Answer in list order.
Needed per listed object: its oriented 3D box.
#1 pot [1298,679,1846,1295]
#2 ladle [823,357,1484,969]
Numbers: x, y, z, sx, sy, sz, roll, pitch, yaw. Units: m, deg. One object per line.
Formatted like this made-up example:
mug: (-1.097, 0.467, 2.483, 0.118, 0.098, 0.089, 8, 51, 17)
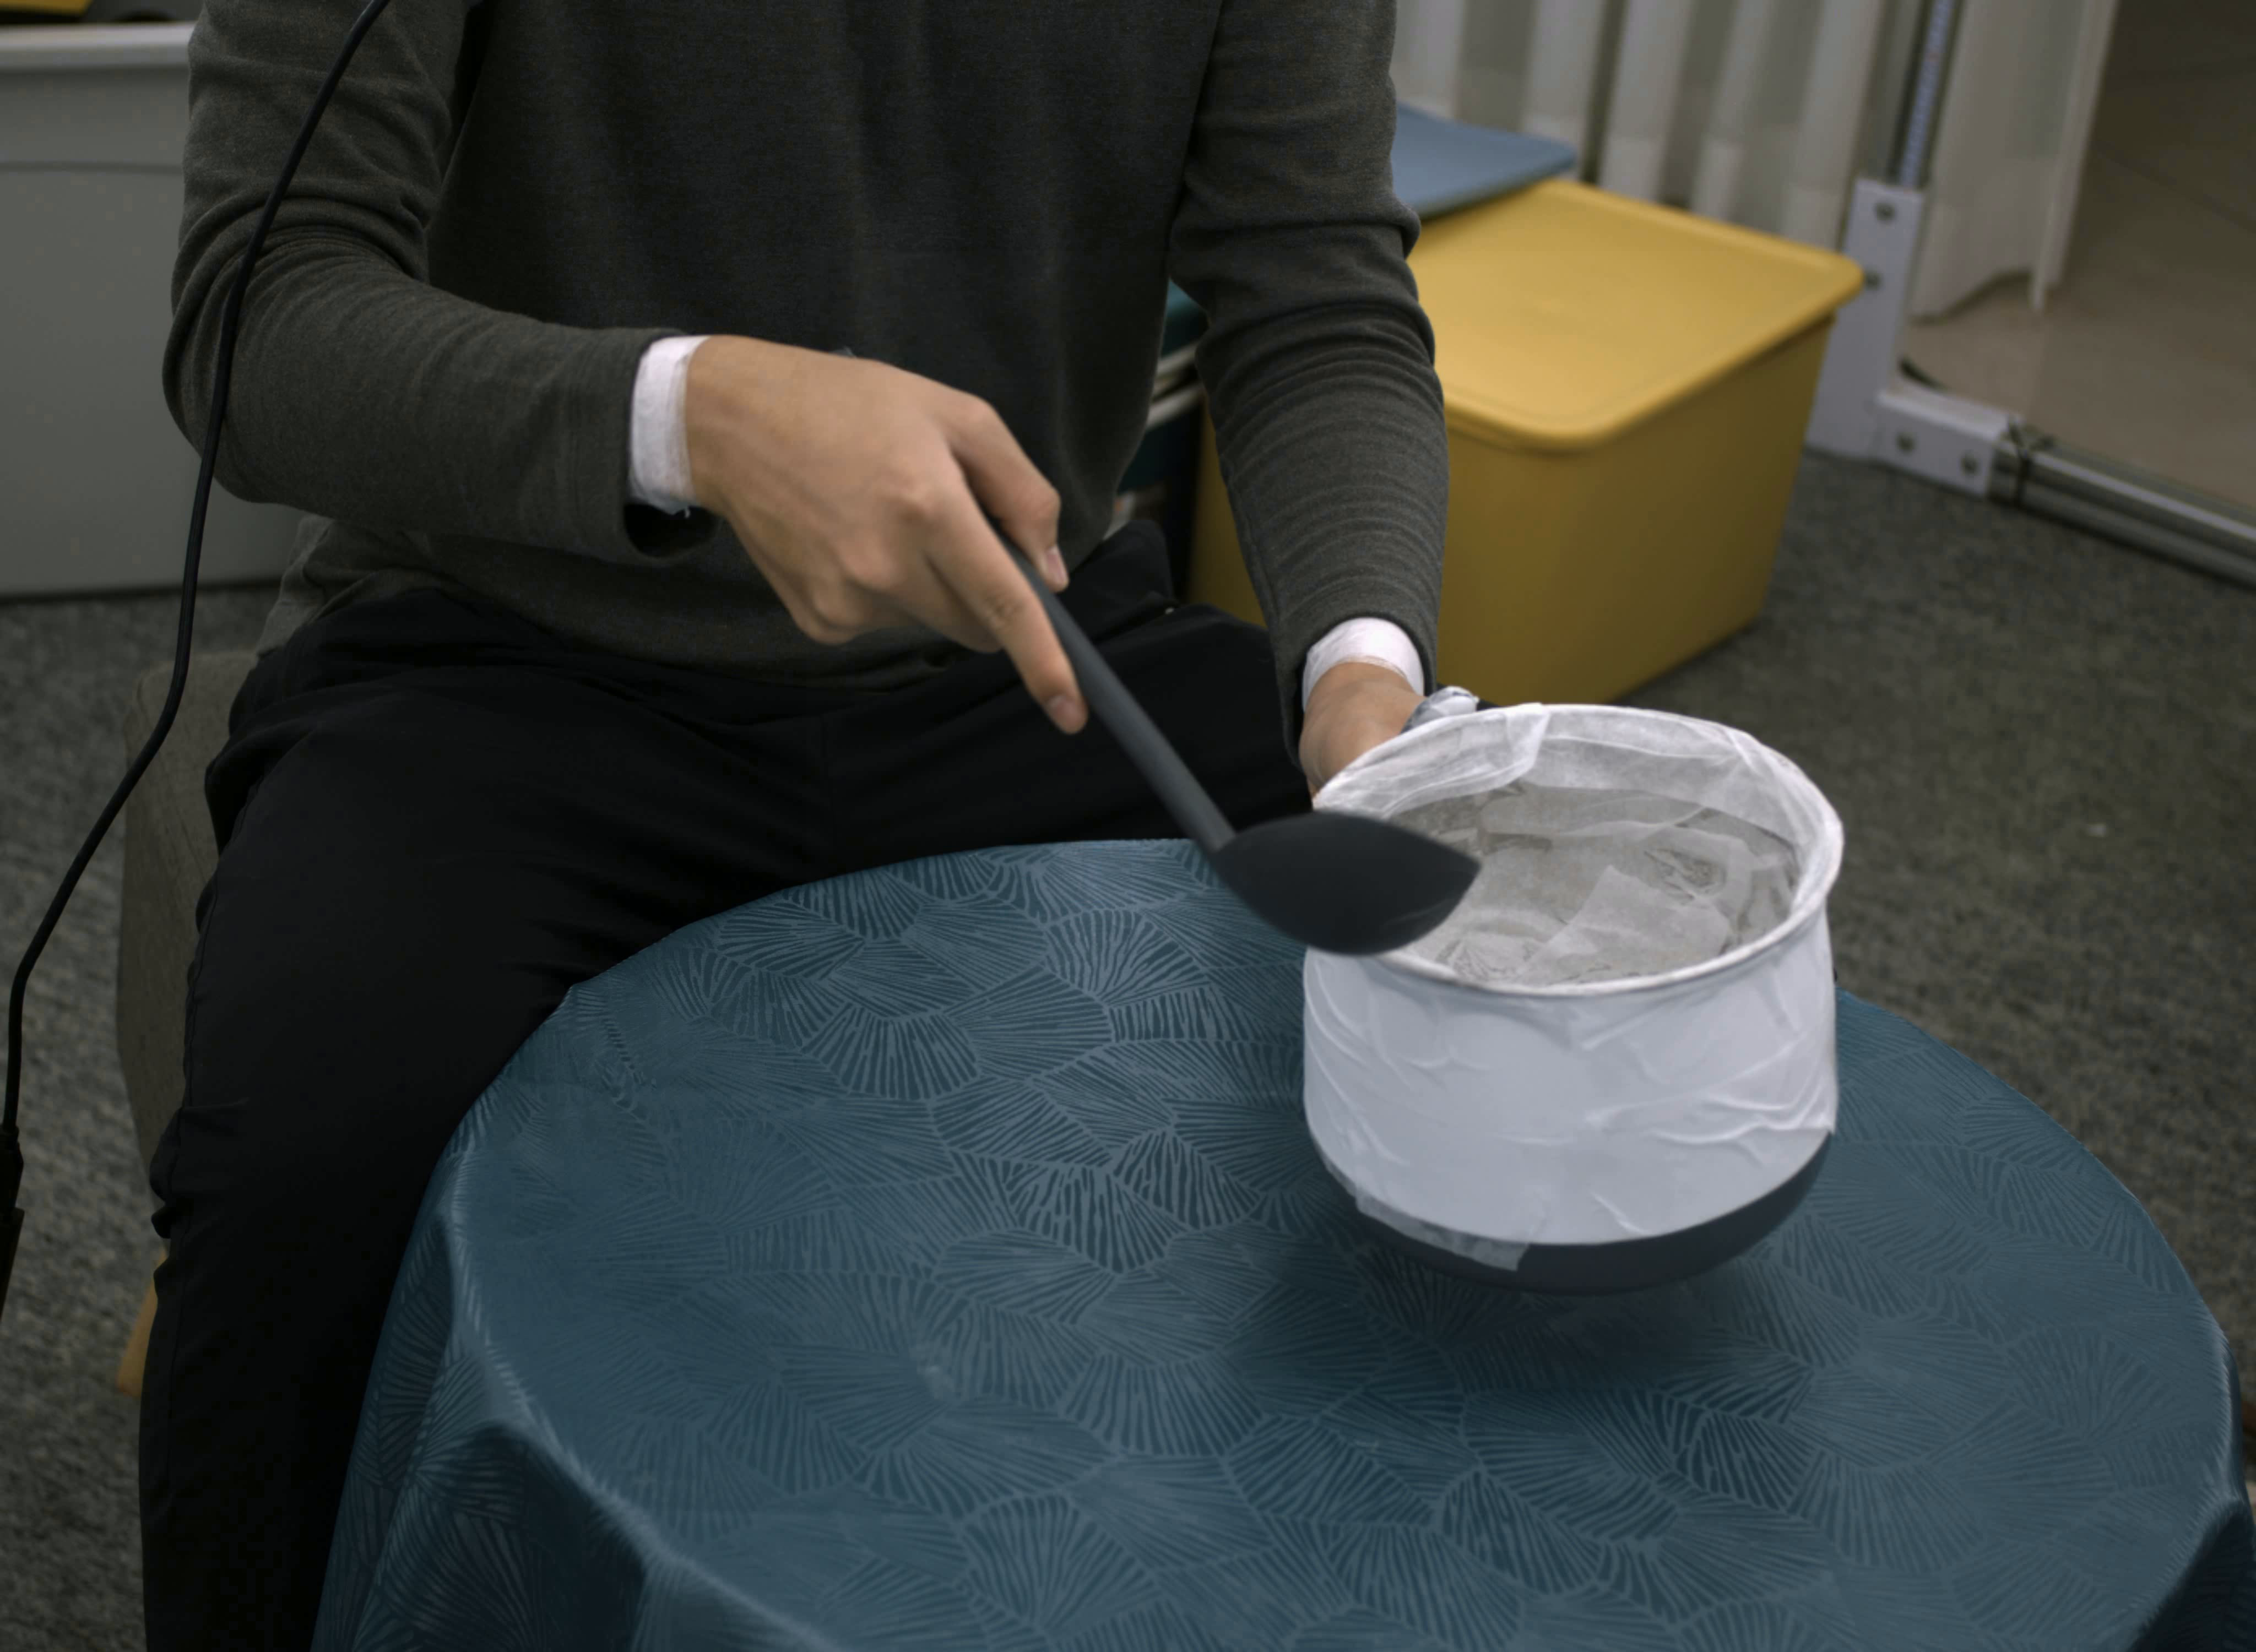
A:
pot: (0.135, 0.045, 1.764, 0.178, 0.136, 0.236, -12, 33, -16)
ladle: (-0.002, -0.067, 1.687, 0.317, 0.064, 0.085, 52, 13, 34)
